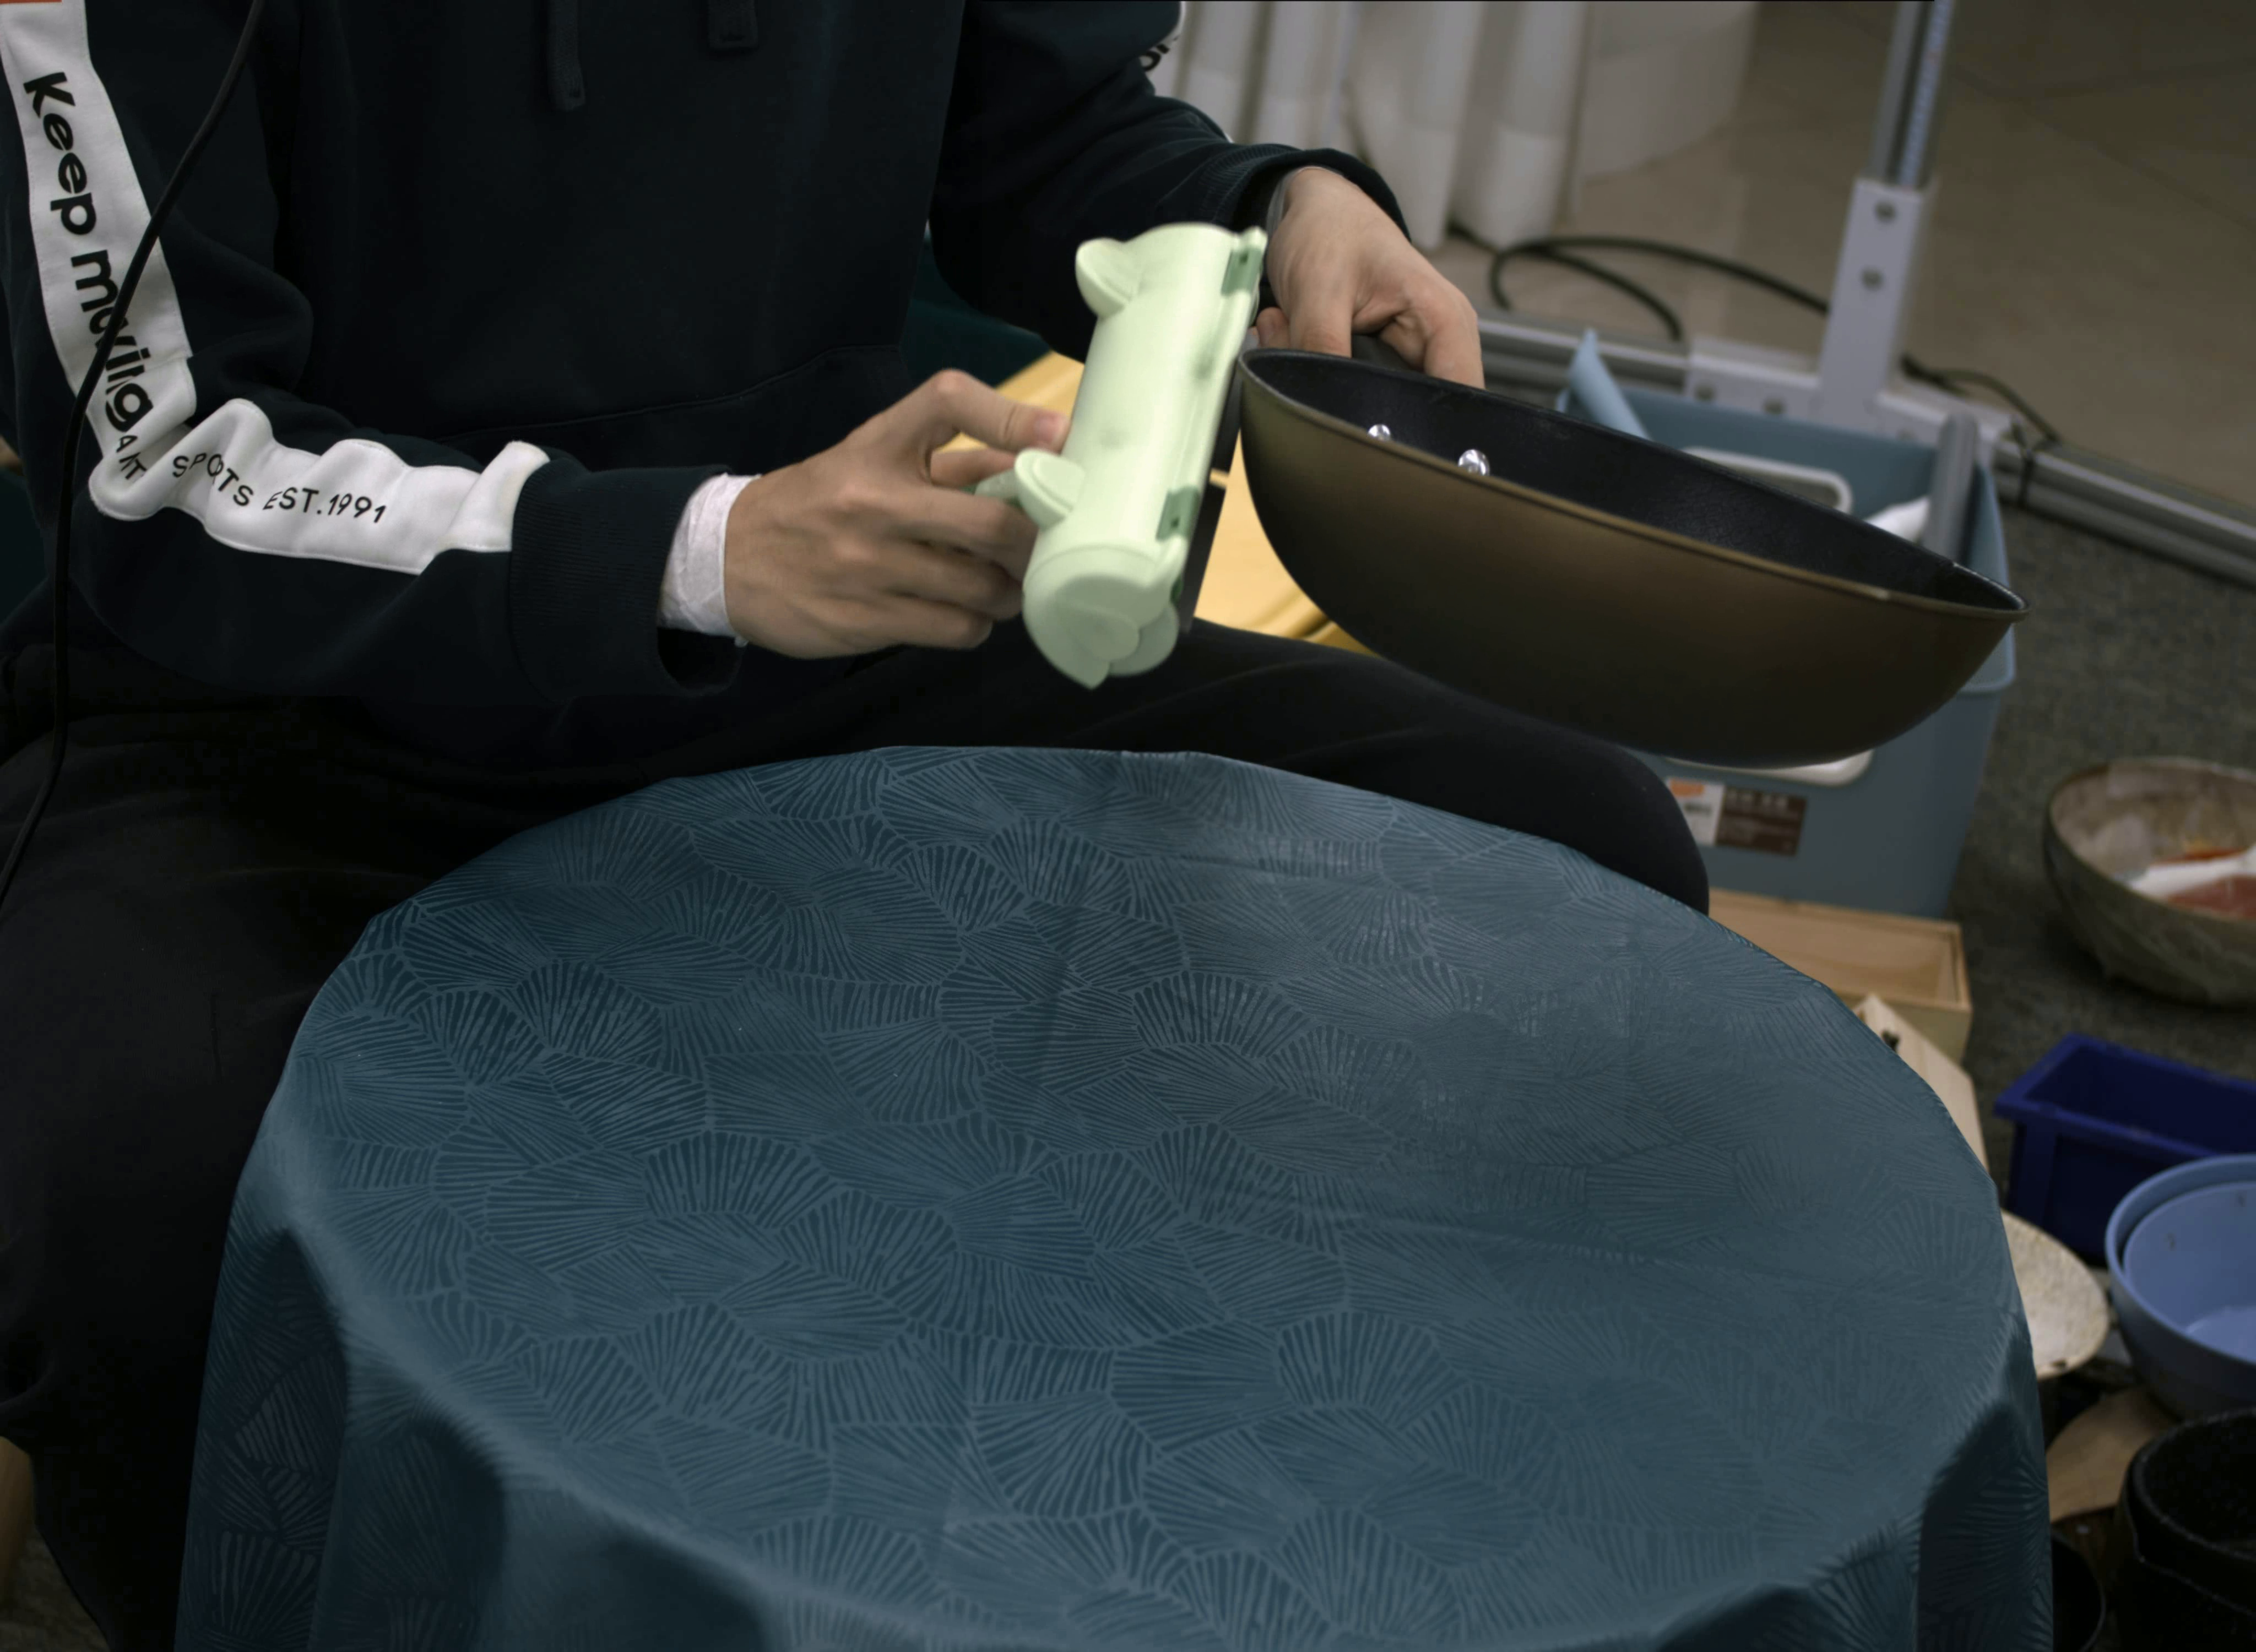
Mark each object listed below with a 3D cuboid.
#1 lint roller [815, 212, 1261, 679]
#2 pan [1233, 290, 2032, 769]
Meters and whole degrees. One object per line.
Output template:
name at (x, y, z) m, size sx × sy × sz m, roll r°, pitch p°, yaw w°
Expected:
lint roller at (-0.045, -0.123, 1.822) m, size 0.183 × 0.081 × 0.200 m, roll -17°, pitch 36°, yaw 26°
pan at (0.116, -0.109, 1.874) m, size 0.285 × 0.087 × 0.467 m, roll 12°, pitch 11°, yaw -31°
